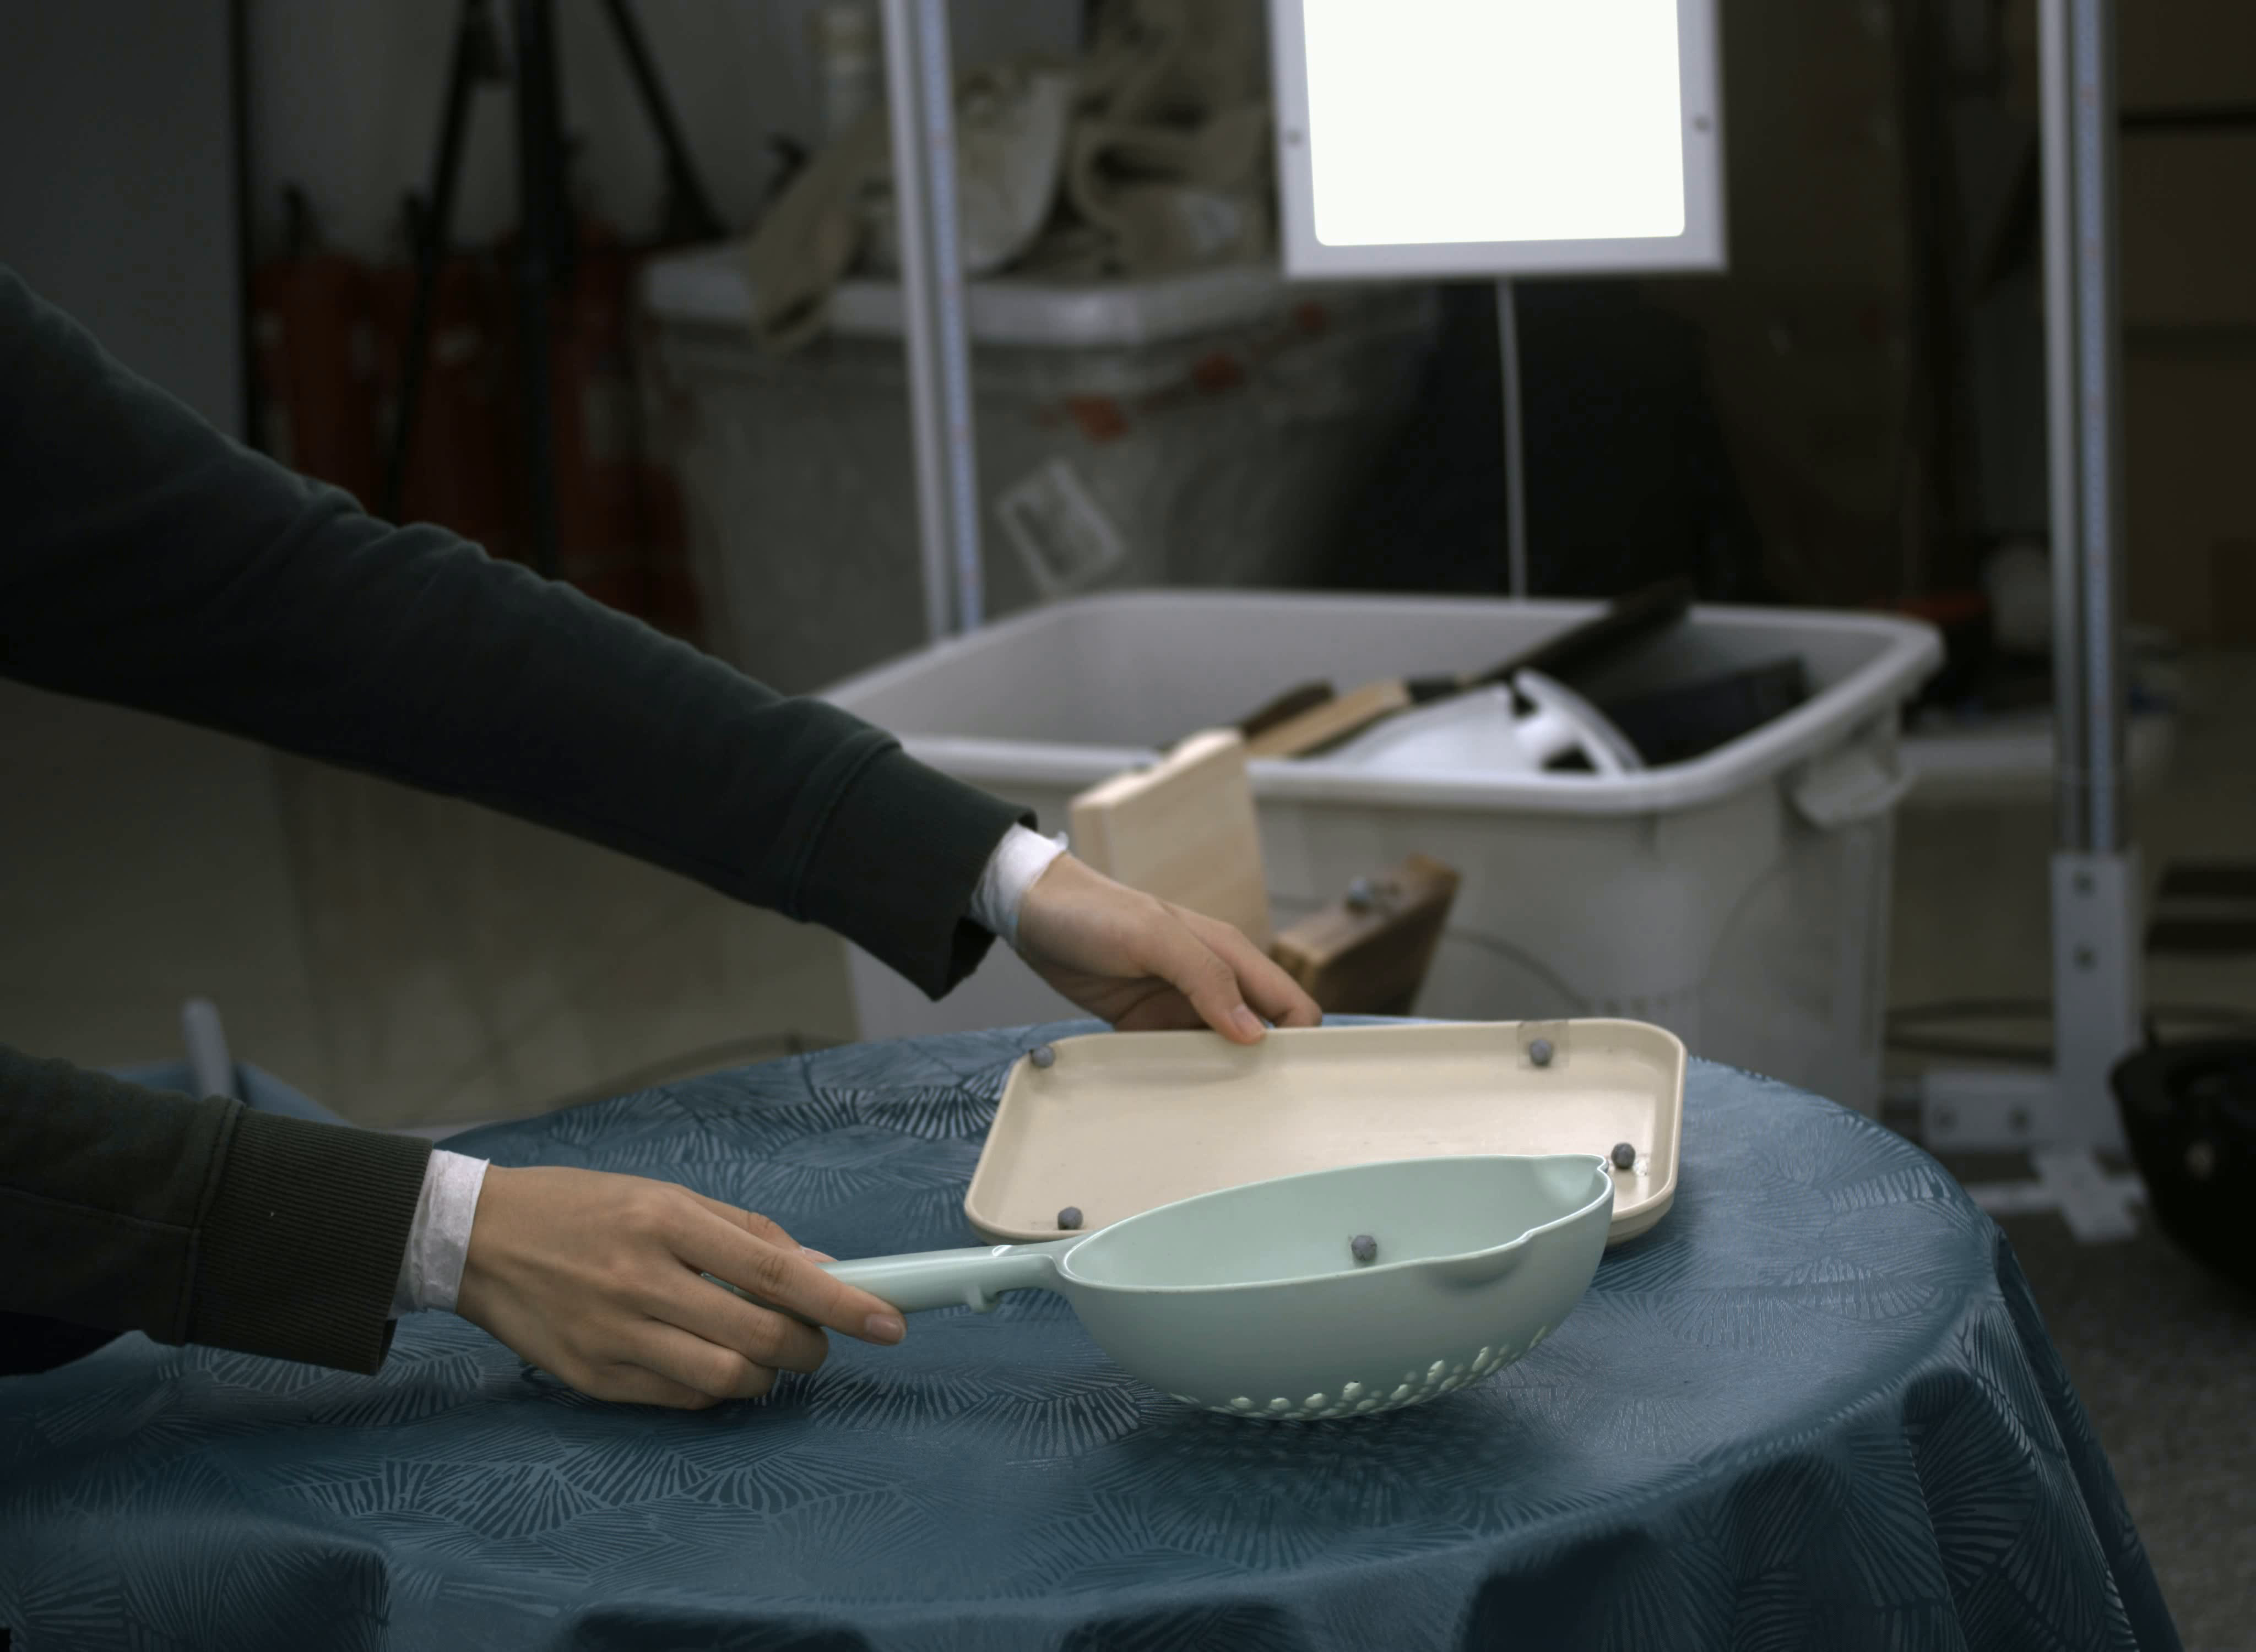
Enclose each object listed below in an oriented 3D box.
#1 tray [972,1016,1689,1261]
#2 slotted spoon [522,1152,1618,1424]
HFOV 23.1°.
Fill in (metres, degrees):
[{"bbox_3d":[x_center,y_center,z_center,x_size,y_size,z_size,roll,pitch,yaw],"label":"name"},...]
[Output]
[{"bbox_3d":[0.072,0.109,1.875,0.241,0.017,0.169,-4,20,10],"label":"tray"},{"bbox_3d":[-0.025,0.142,1.699,0.363,0.075,0.166,1,9,21],"label":"slotted spoon"}]
